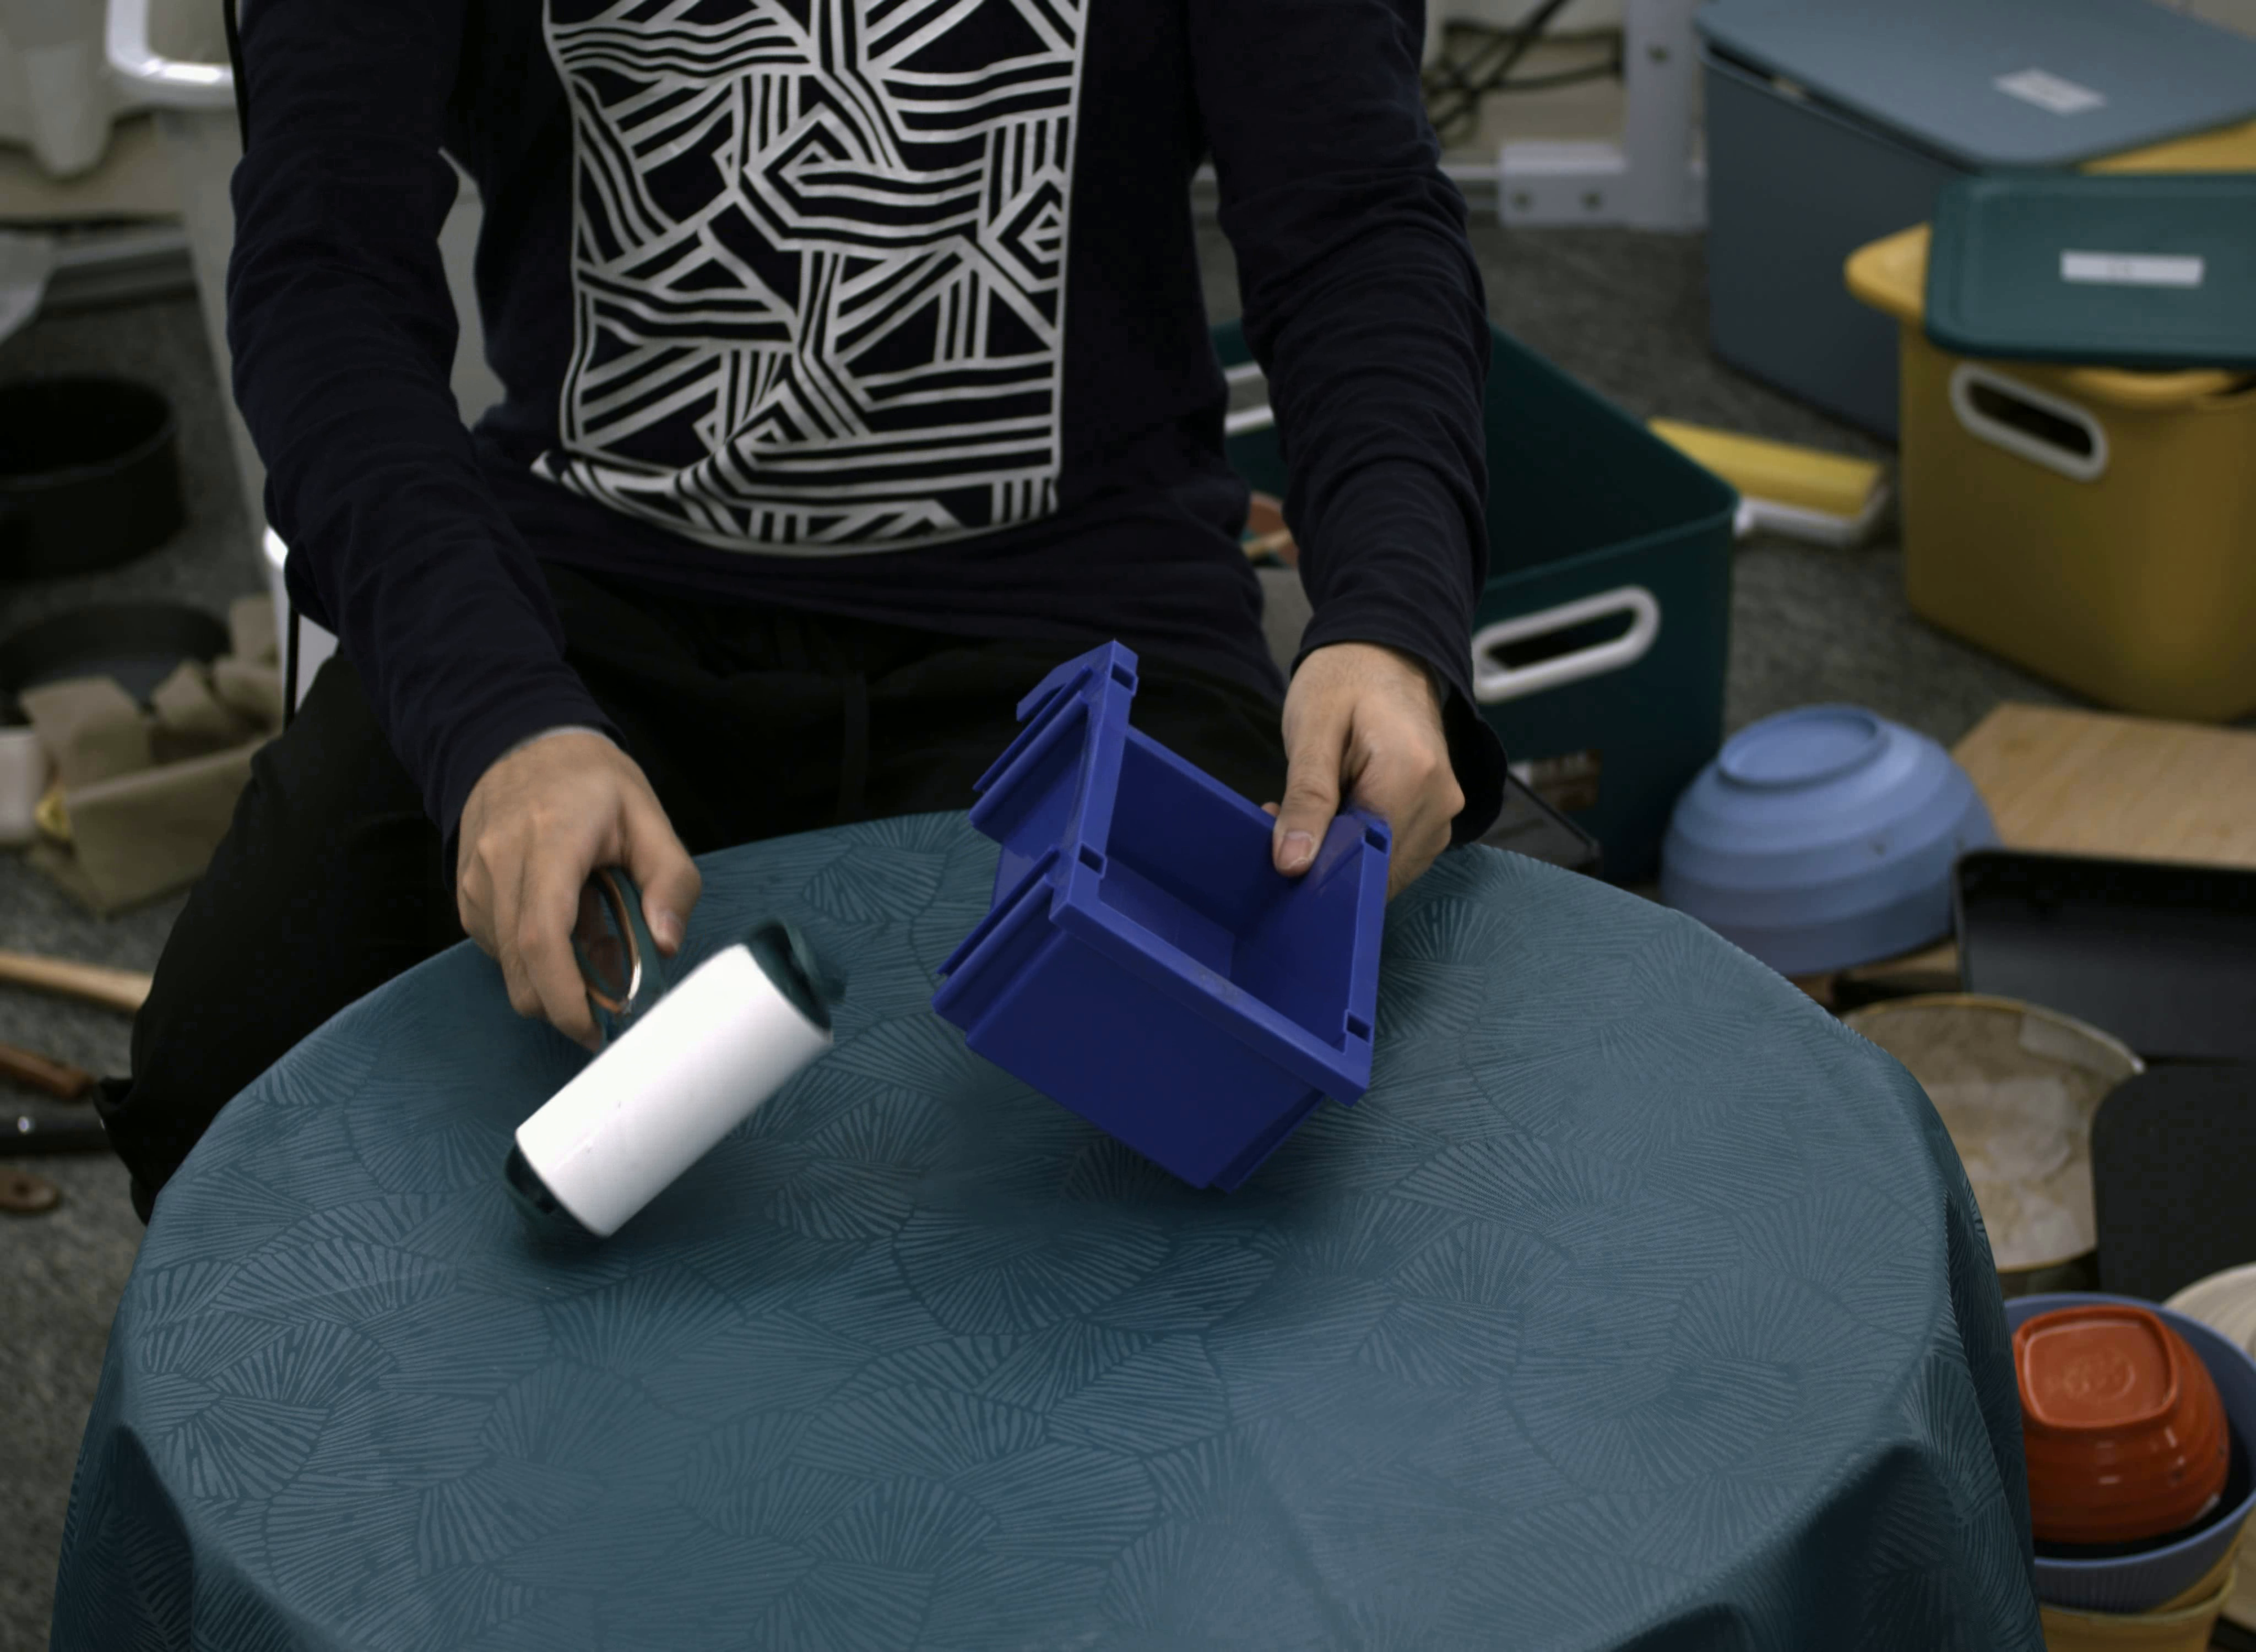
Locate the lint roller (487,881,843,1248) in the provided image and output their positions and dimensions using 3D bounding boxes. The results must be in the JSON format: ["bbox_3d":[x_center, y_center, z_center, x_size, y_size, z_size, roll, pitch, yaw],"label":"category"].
[{"bbox_3d":[-0.173,0.056,1.891,0.134,0.048,0.182,-38,37,1],"label":"lint roller"}]

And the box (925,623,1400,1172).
[{"bbox_3d":[0.013,0.019,1.884,0.124,0.080,0.183,33,35,-13],"label":"box"}]
